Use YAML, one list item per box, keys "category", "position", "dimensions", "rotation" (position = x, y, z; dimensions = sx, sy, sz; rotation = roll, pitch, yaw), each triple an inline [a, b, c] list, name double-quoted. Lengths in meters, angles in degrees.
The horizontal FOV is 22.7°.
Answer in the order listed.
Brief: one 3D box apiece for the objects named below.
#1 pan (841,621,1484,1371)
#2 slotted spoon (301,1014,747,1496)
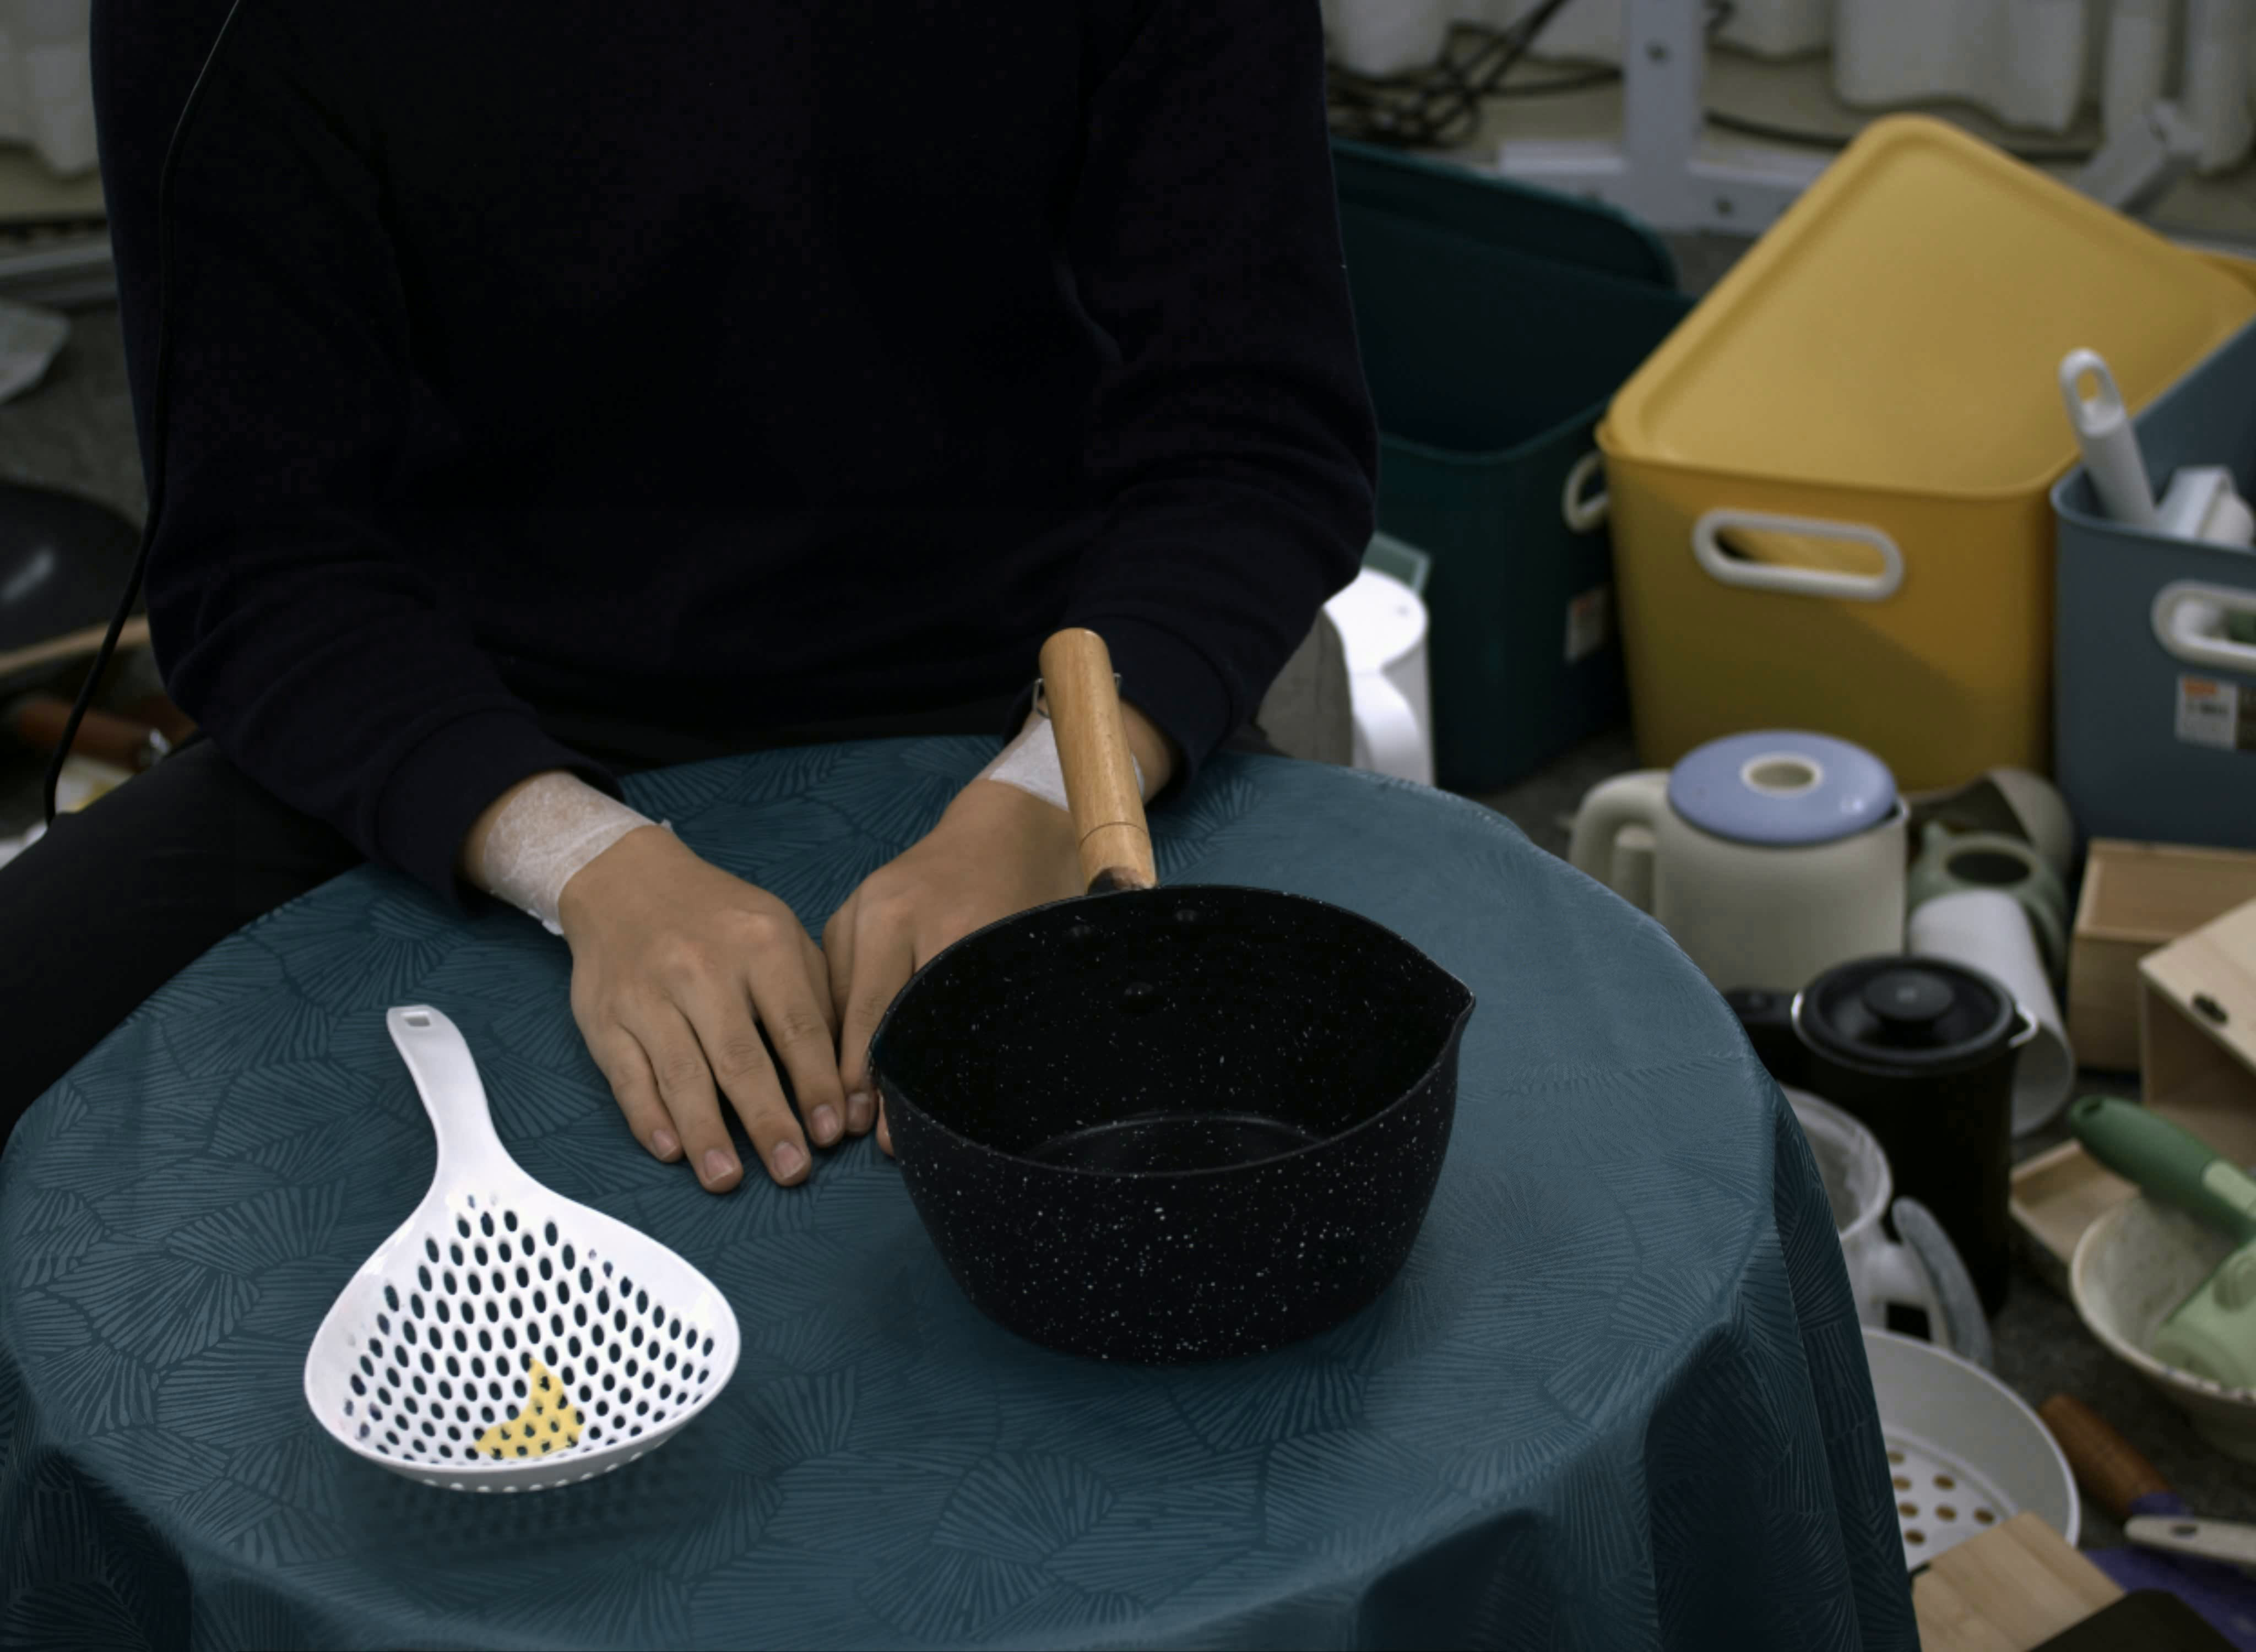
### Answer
- category: "pan"
  position: [0.002, 0.053, 1.879]
  dimensions: [0.207, 0.107, 0.347]
  rotation: [-7, 29, -6]
- category: "slotted spoon"
  position: [-0.213, 0.127, 1.827]
  dimensions: [0.137, 0.050, 0.352]
  rotation: [-10, 30, -12]
